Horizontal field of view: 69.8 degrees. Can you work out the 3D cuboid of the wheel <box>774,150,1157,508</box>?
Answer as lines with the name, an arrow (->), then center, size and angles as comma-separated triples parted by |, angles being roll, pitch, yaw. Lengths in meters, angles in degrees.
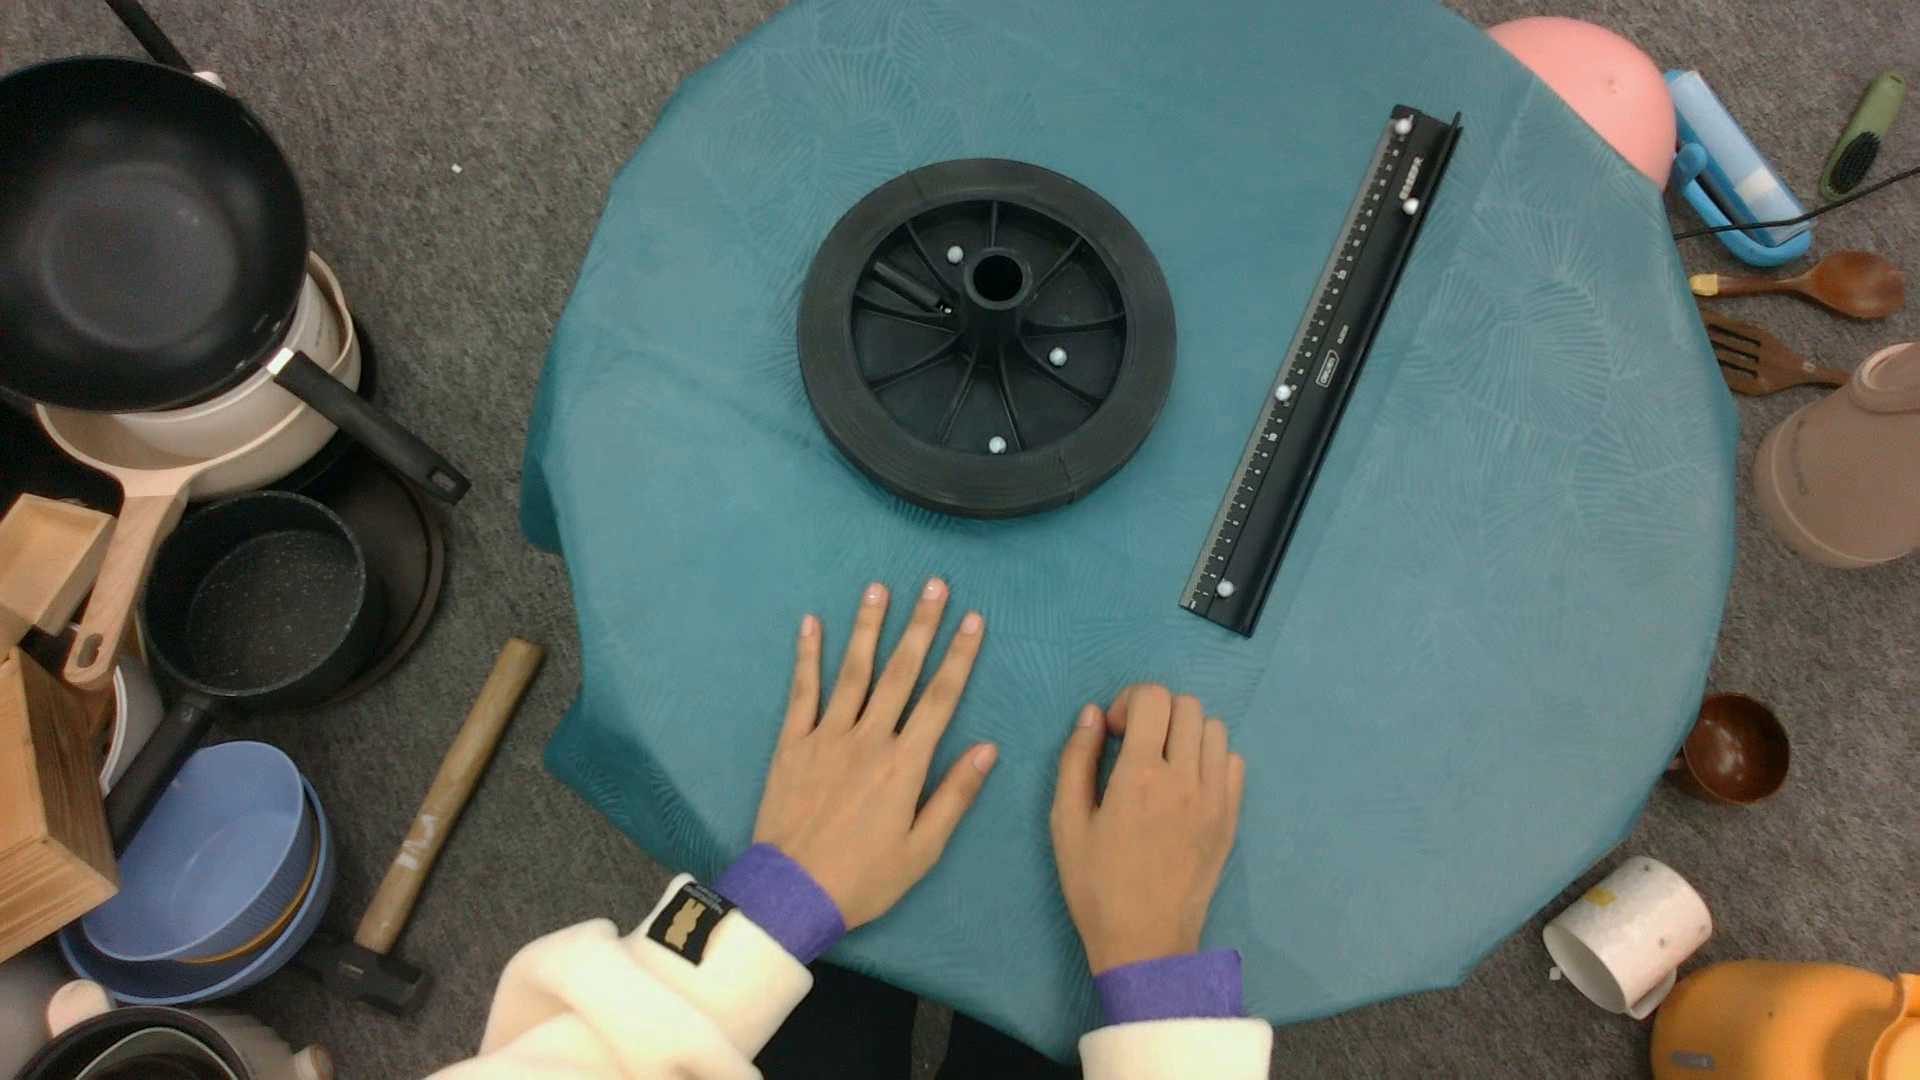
wheel -> 0.005, -0.113, 0.662 | 0.190, 0.079, 0.188 | 10, 73, -1

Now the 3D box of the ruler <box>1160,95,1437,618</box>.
ruler -> 0.179, -0.105, 0.704 | 0.039, 0.017, 0.313 | 24, 74, 7
